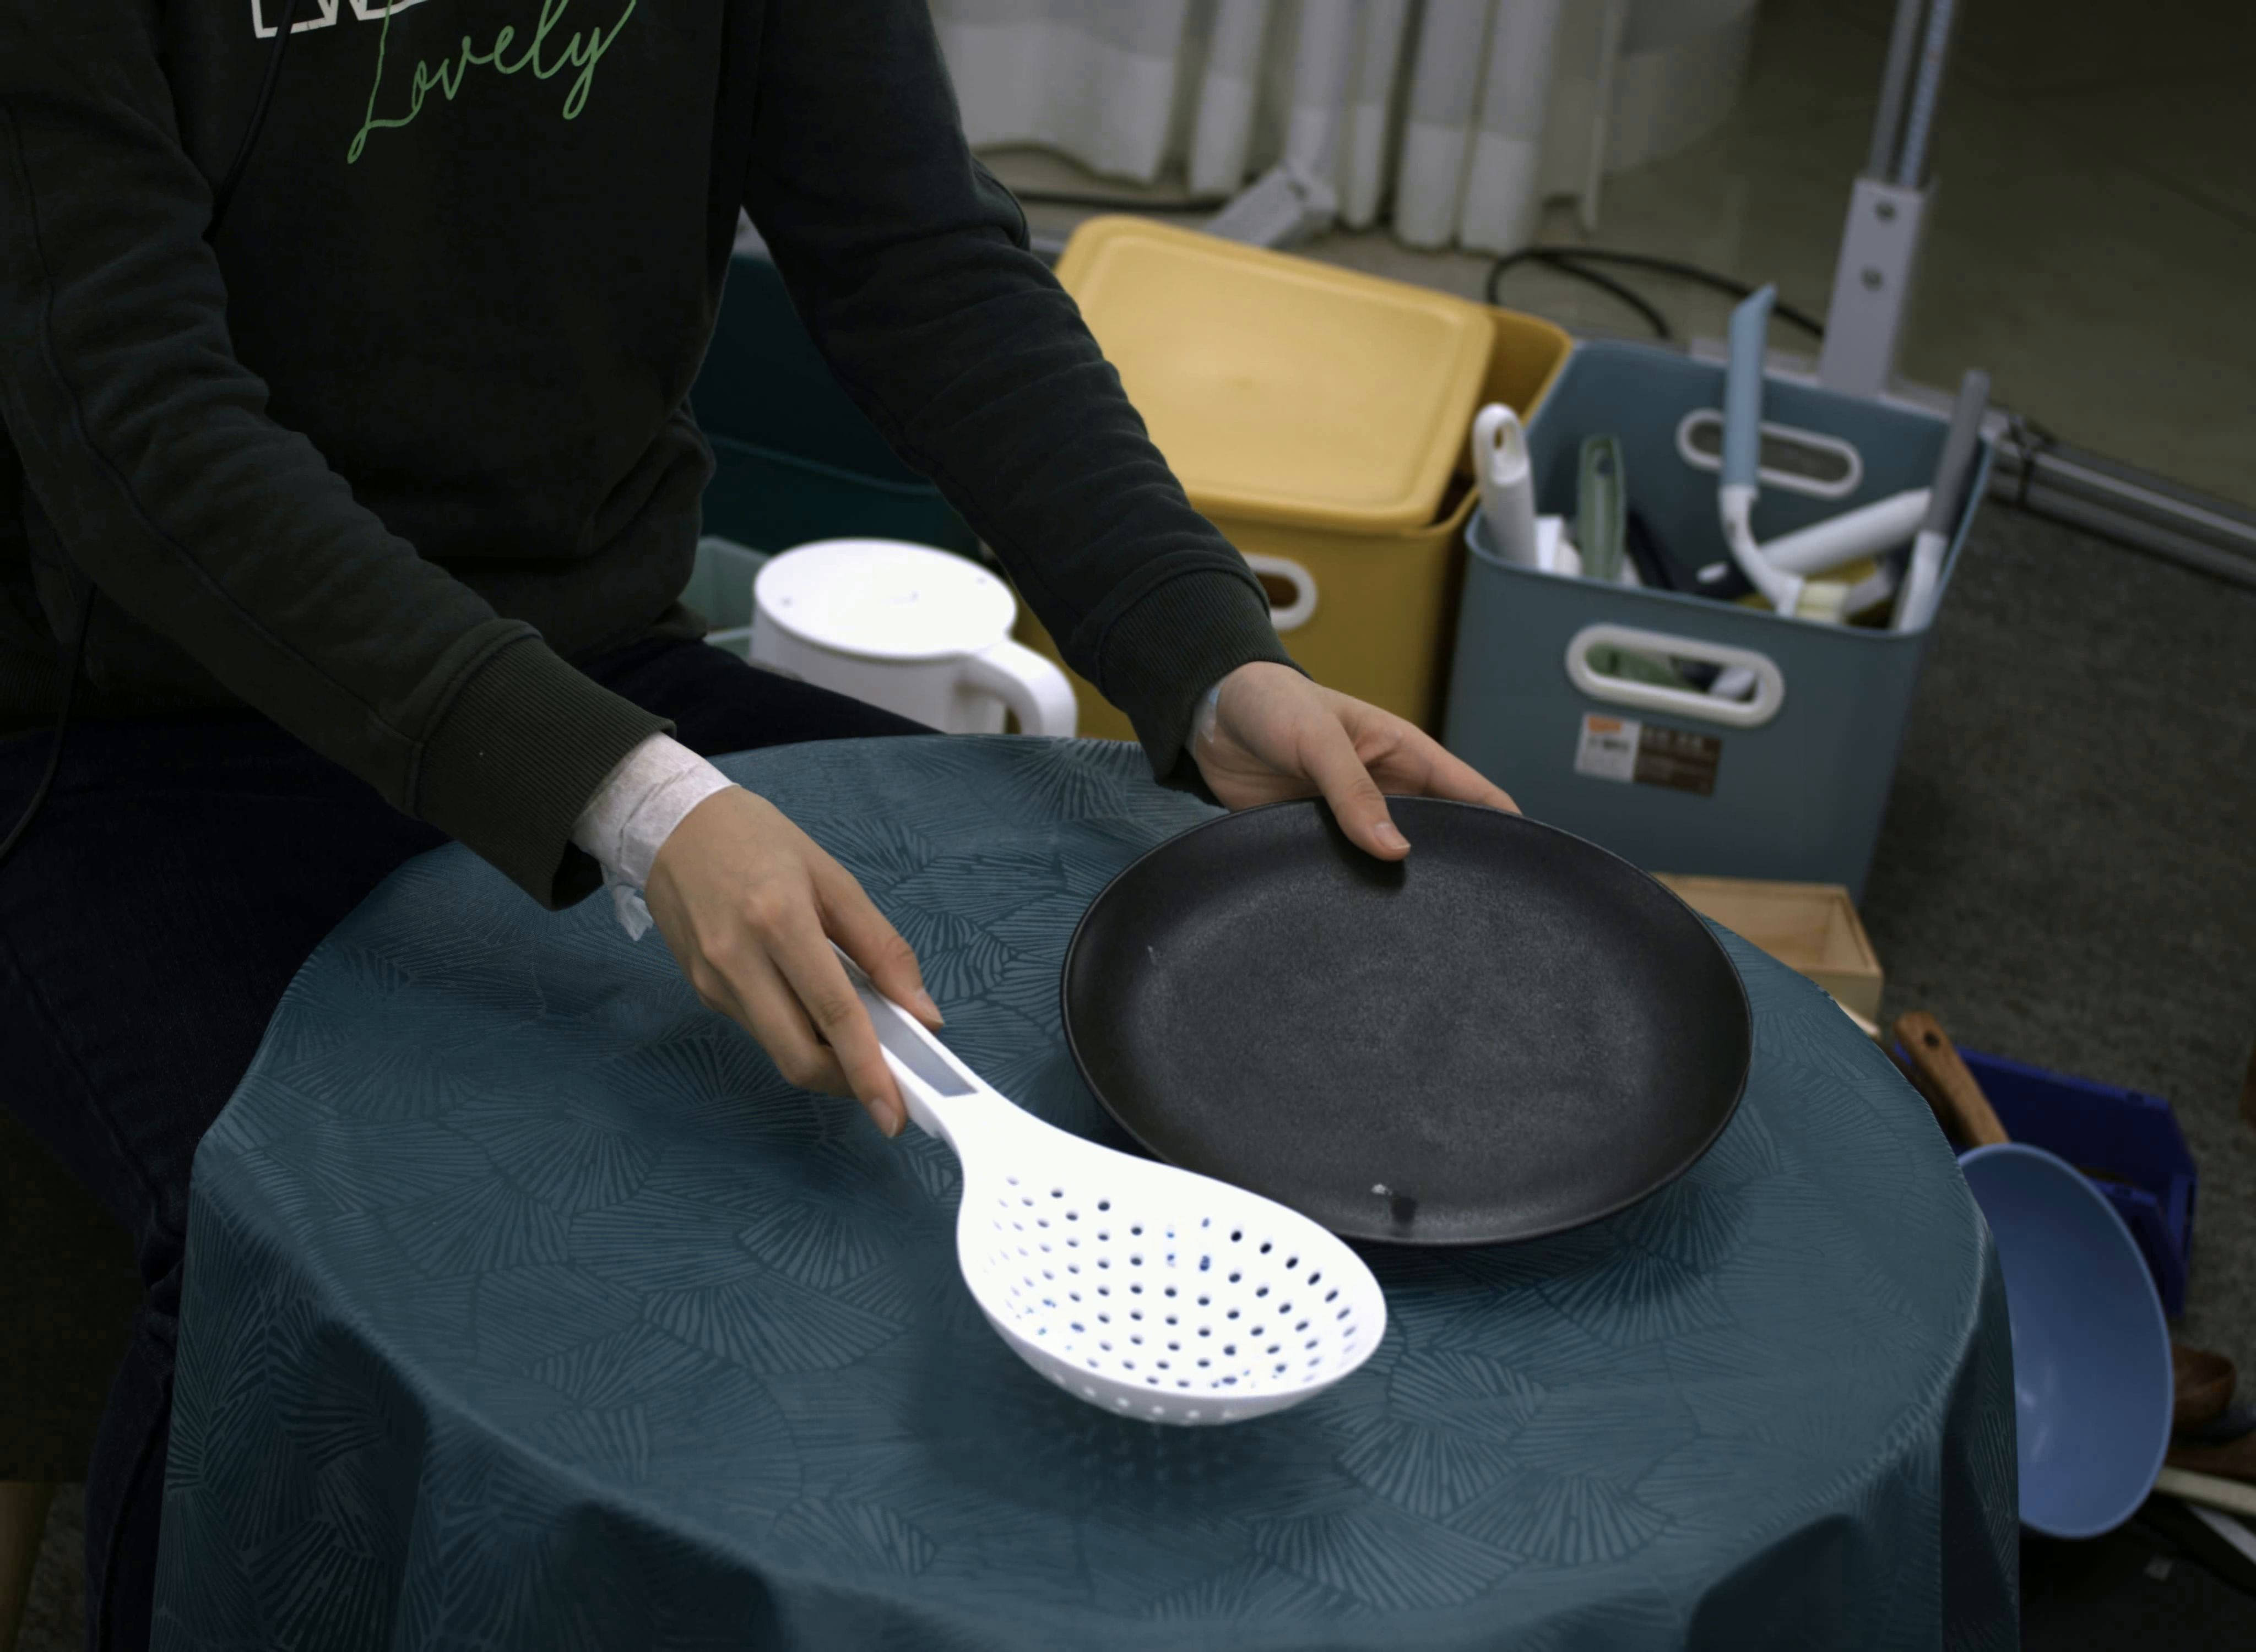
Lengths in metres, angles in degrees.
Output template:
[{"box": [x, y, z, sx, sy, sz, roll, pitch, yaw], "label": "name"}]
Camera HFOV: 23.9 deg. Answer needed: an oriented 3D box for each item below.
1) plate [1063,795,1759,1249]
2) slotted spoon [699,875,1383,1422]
[{"box": [0.097, 0.071, 1.854, 0.243, 0.023, 0.246, 2, 38, -2], "label": "plate"}, {"box": [-0.047, 0.100, 1.746, 0.135, 0.045, 0.353, -7, 34, -34], "label": "slotted spoon"}]
